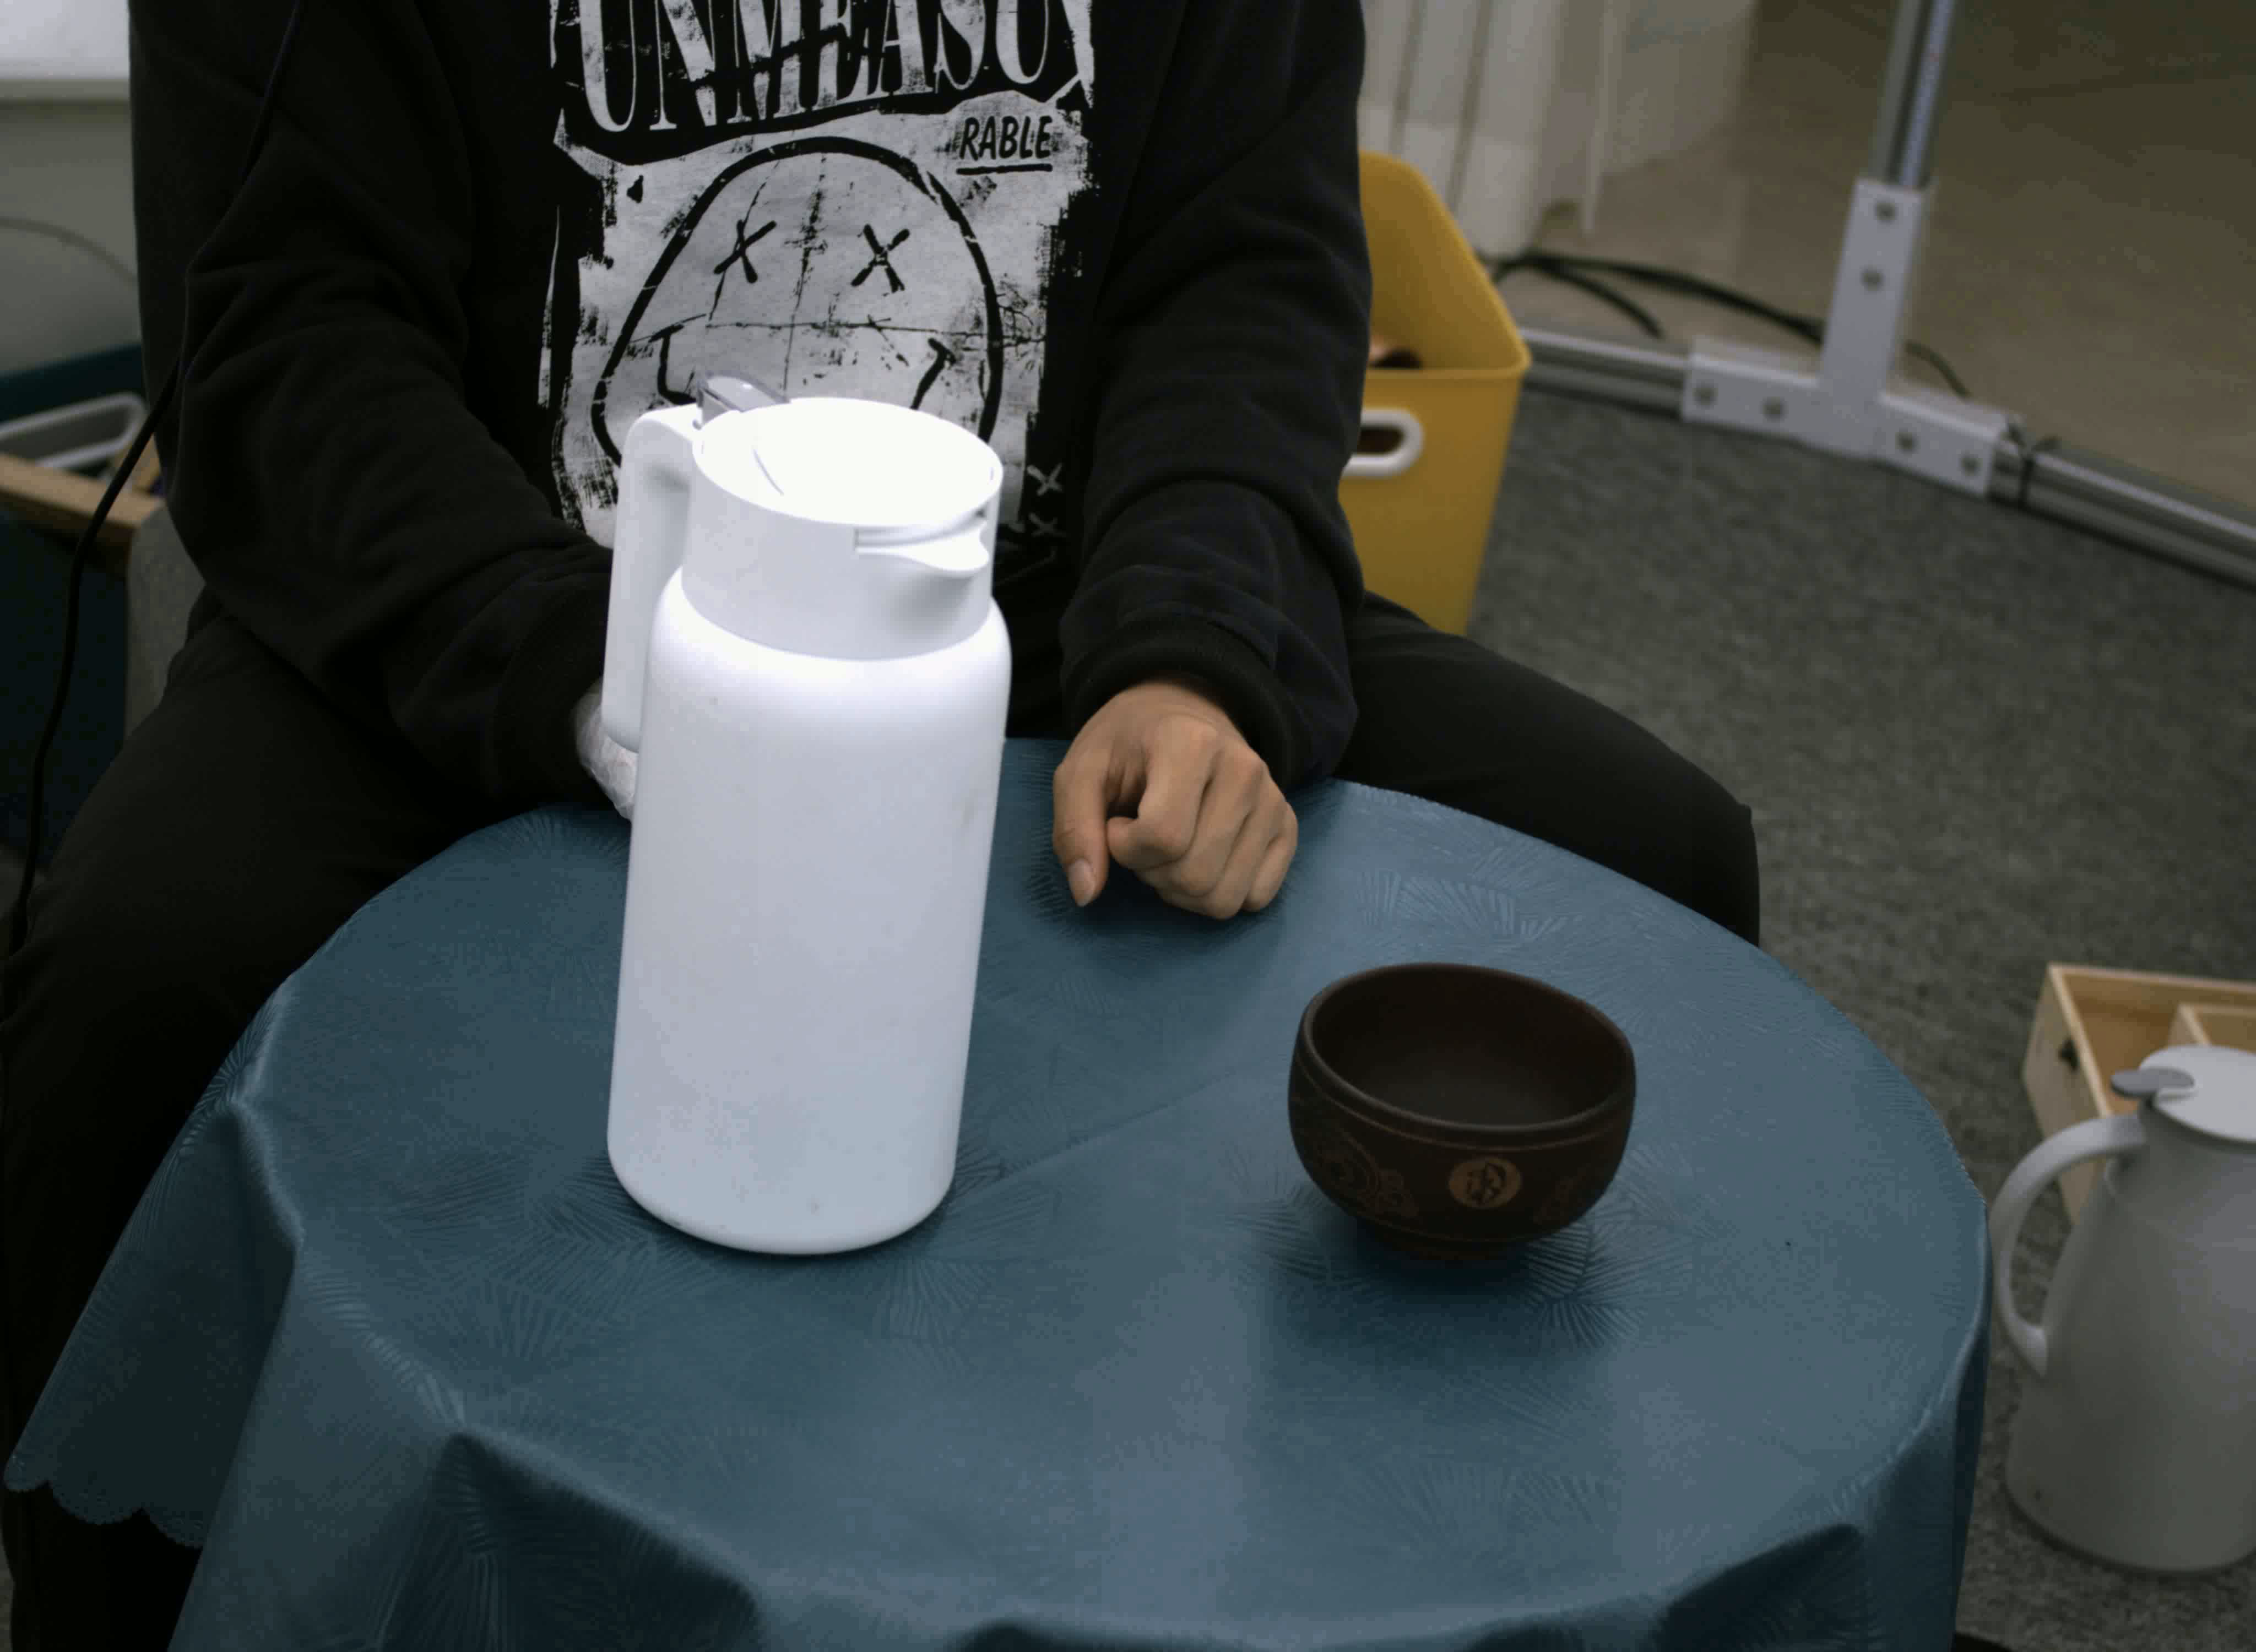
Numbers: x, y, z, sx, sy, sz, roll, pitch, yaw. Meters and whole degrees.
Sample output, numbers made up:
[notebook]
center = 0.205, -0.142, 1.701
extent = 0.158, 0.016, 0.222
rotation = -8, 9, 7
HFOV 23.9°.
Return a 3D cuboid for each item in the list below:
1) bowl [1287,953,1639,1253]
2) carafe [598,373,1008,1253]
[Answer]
[bowl]
center = 0.110, 0.100, 1.794
extent = 0.117, 0.069, 0.119
rotation = 4, 27, -3
[carafe]
center = -0.116, -0.007, 1.744
extent = 0.123, 0.268, 0.174
rotation = -17, 35, -36
